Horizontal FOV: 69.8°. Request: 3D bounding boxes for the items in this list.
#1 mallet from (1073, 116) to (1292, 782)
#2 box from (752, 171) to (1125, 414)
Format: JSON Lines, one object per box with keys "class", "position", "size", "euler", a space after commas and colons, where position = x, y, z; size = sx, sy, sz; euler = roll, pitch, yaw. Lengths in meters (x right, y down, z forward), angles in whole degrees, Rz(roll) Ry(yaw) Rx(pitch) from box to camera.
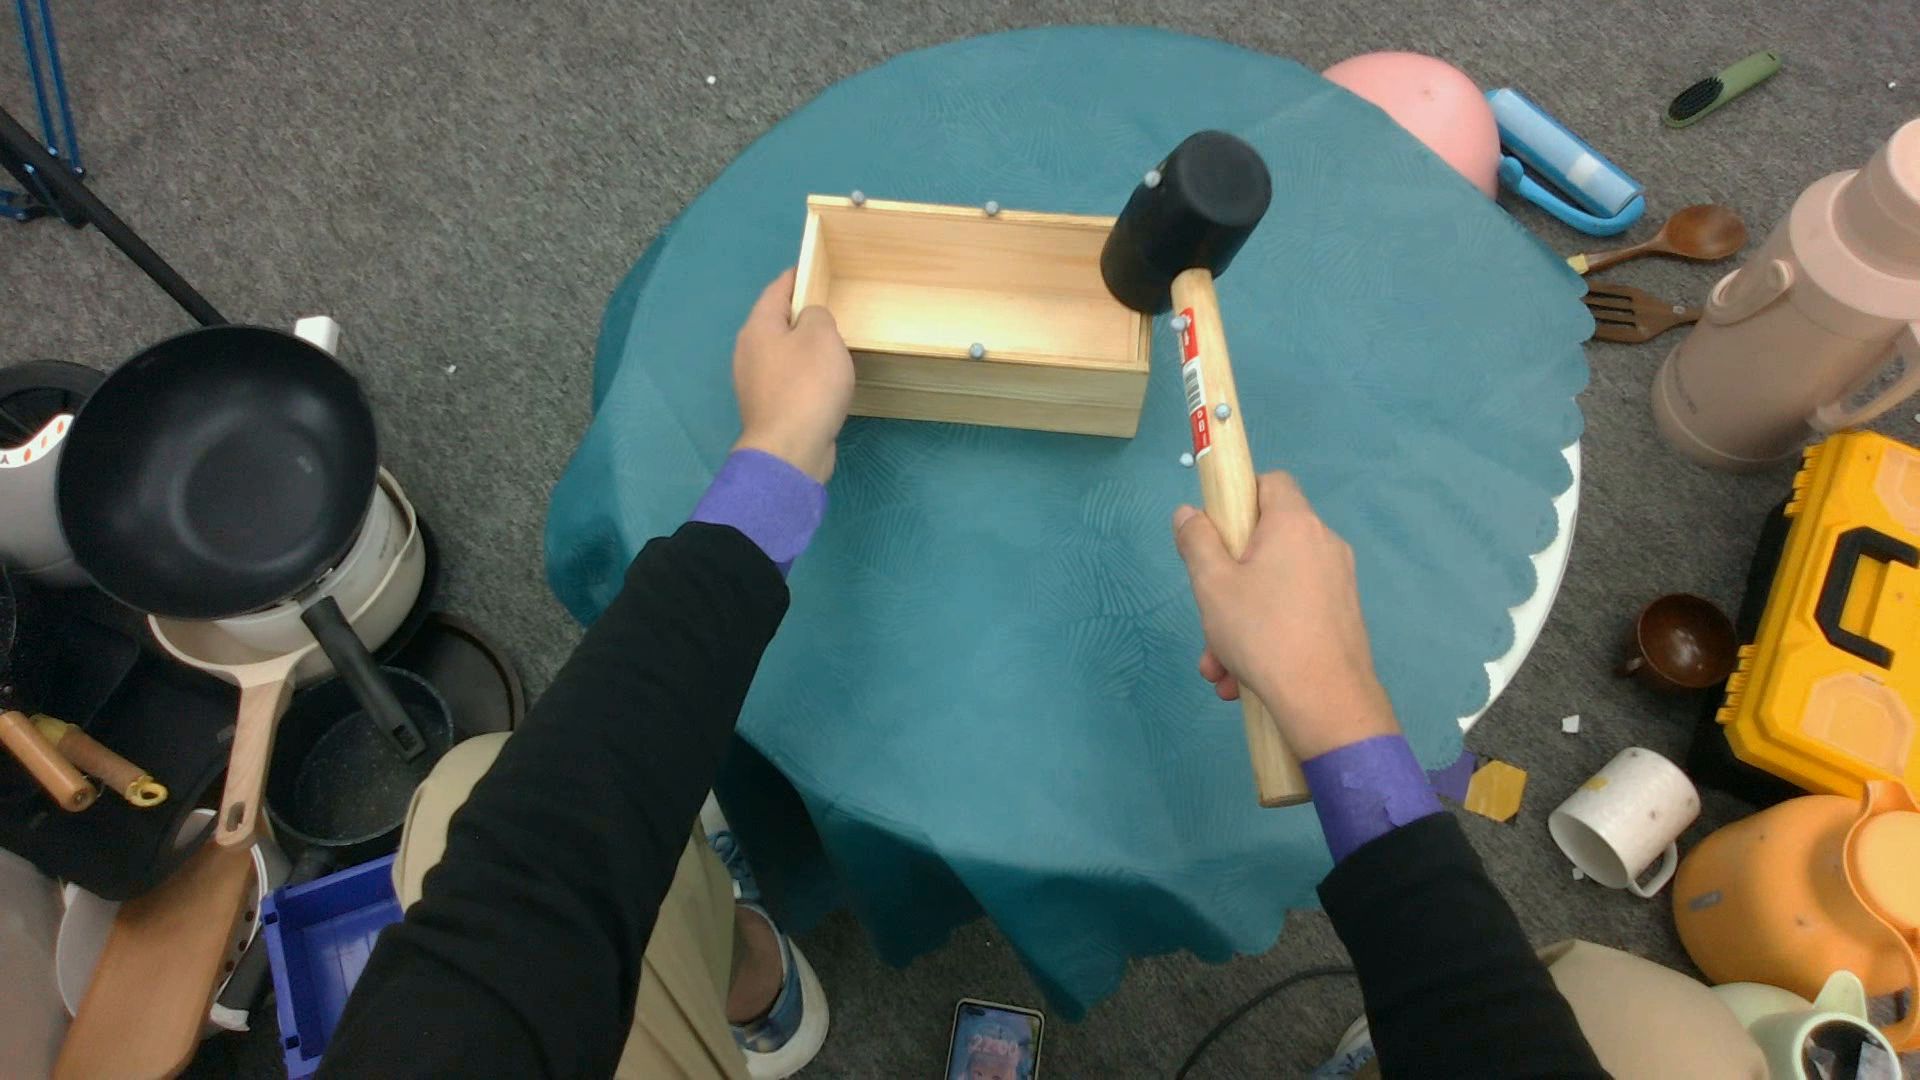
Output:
{"class": "mallet", "position": [0.114, -0.048, 0.702], "size": [0.064, 0.101, 0.340], "euler": [0, 71, -15]}
{"class": "box", "position": [-0.009, -0.148, 0.833], "size": [0.211, 0.080, 0.108], "euler": [4, 67, 2]}
